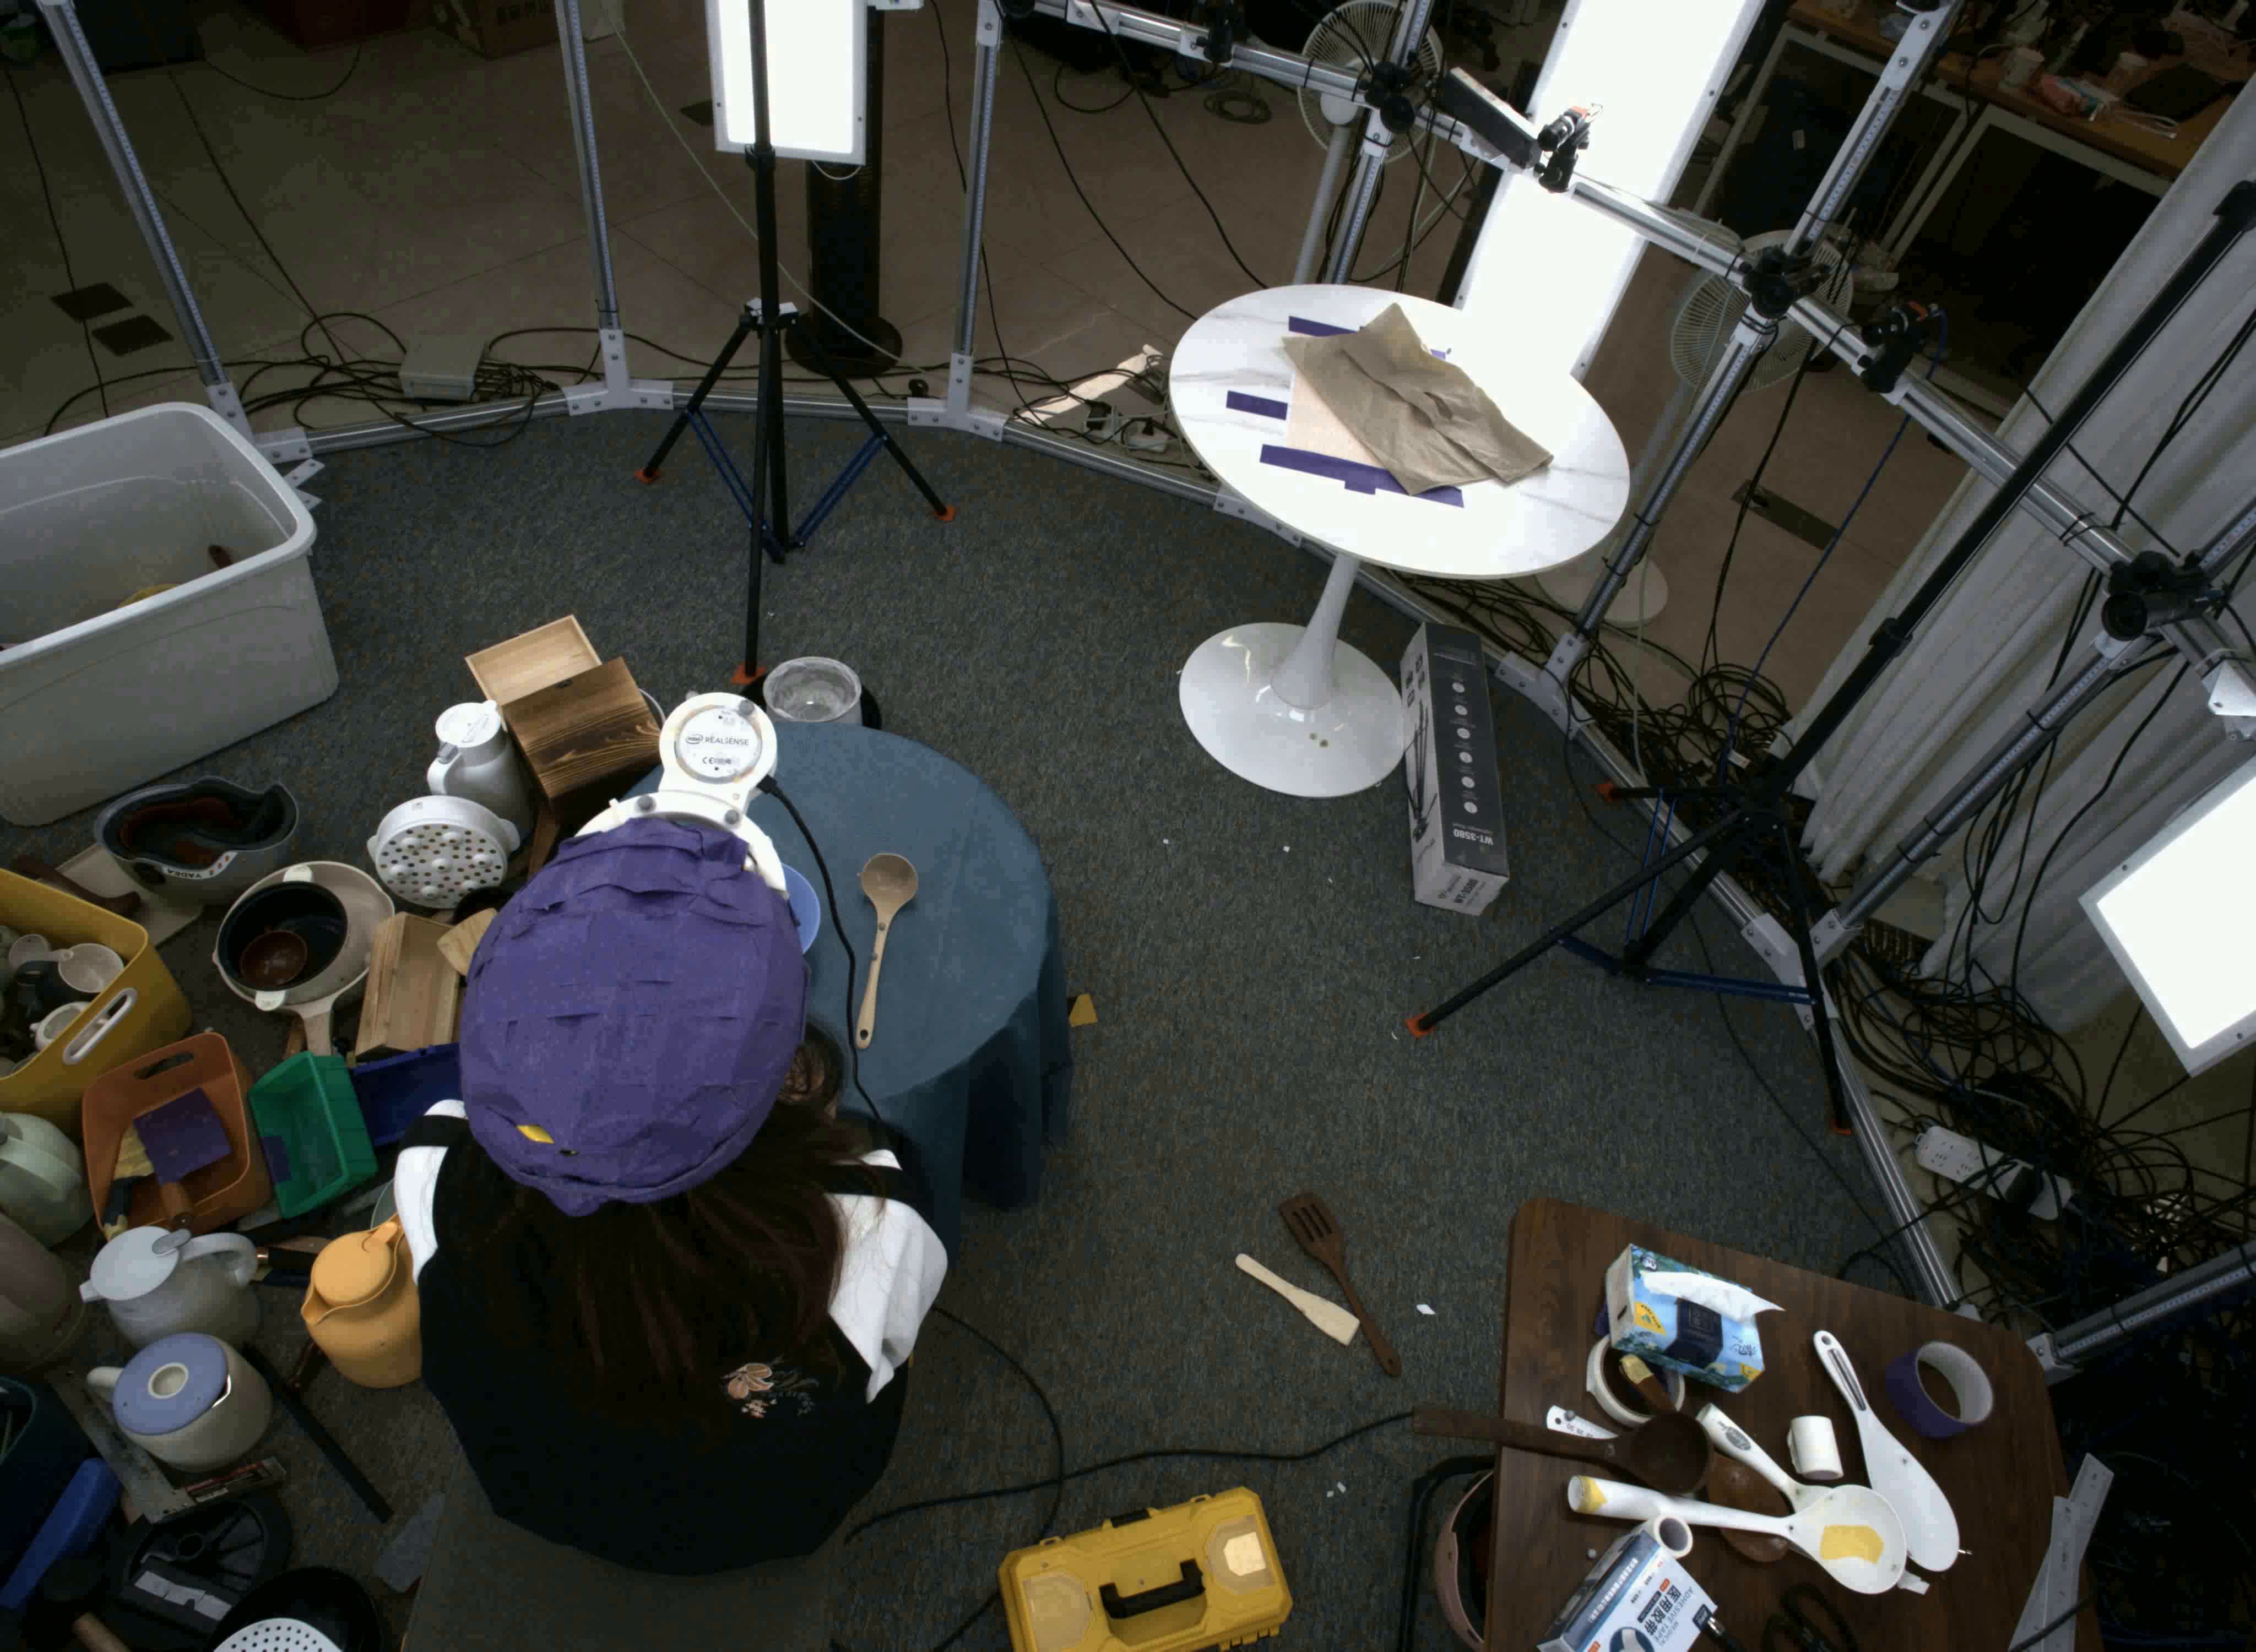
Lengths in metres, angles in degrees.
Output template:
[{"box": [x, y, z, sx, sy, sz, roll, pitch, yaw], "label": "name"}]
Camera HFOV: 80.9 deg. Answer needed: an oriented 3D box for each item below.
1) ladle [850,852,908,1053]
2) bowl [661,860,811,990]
[{"box": [-0.314, 0.144, 1.592, 0.072, 0.074, 0.249, 5, 53, -9], "label": "ladle"}, {"box": [-0.471, 0.129, 1.565, 0.175, 0.072, 0.173, 7, 52, -8], "label": "bowl"}]
